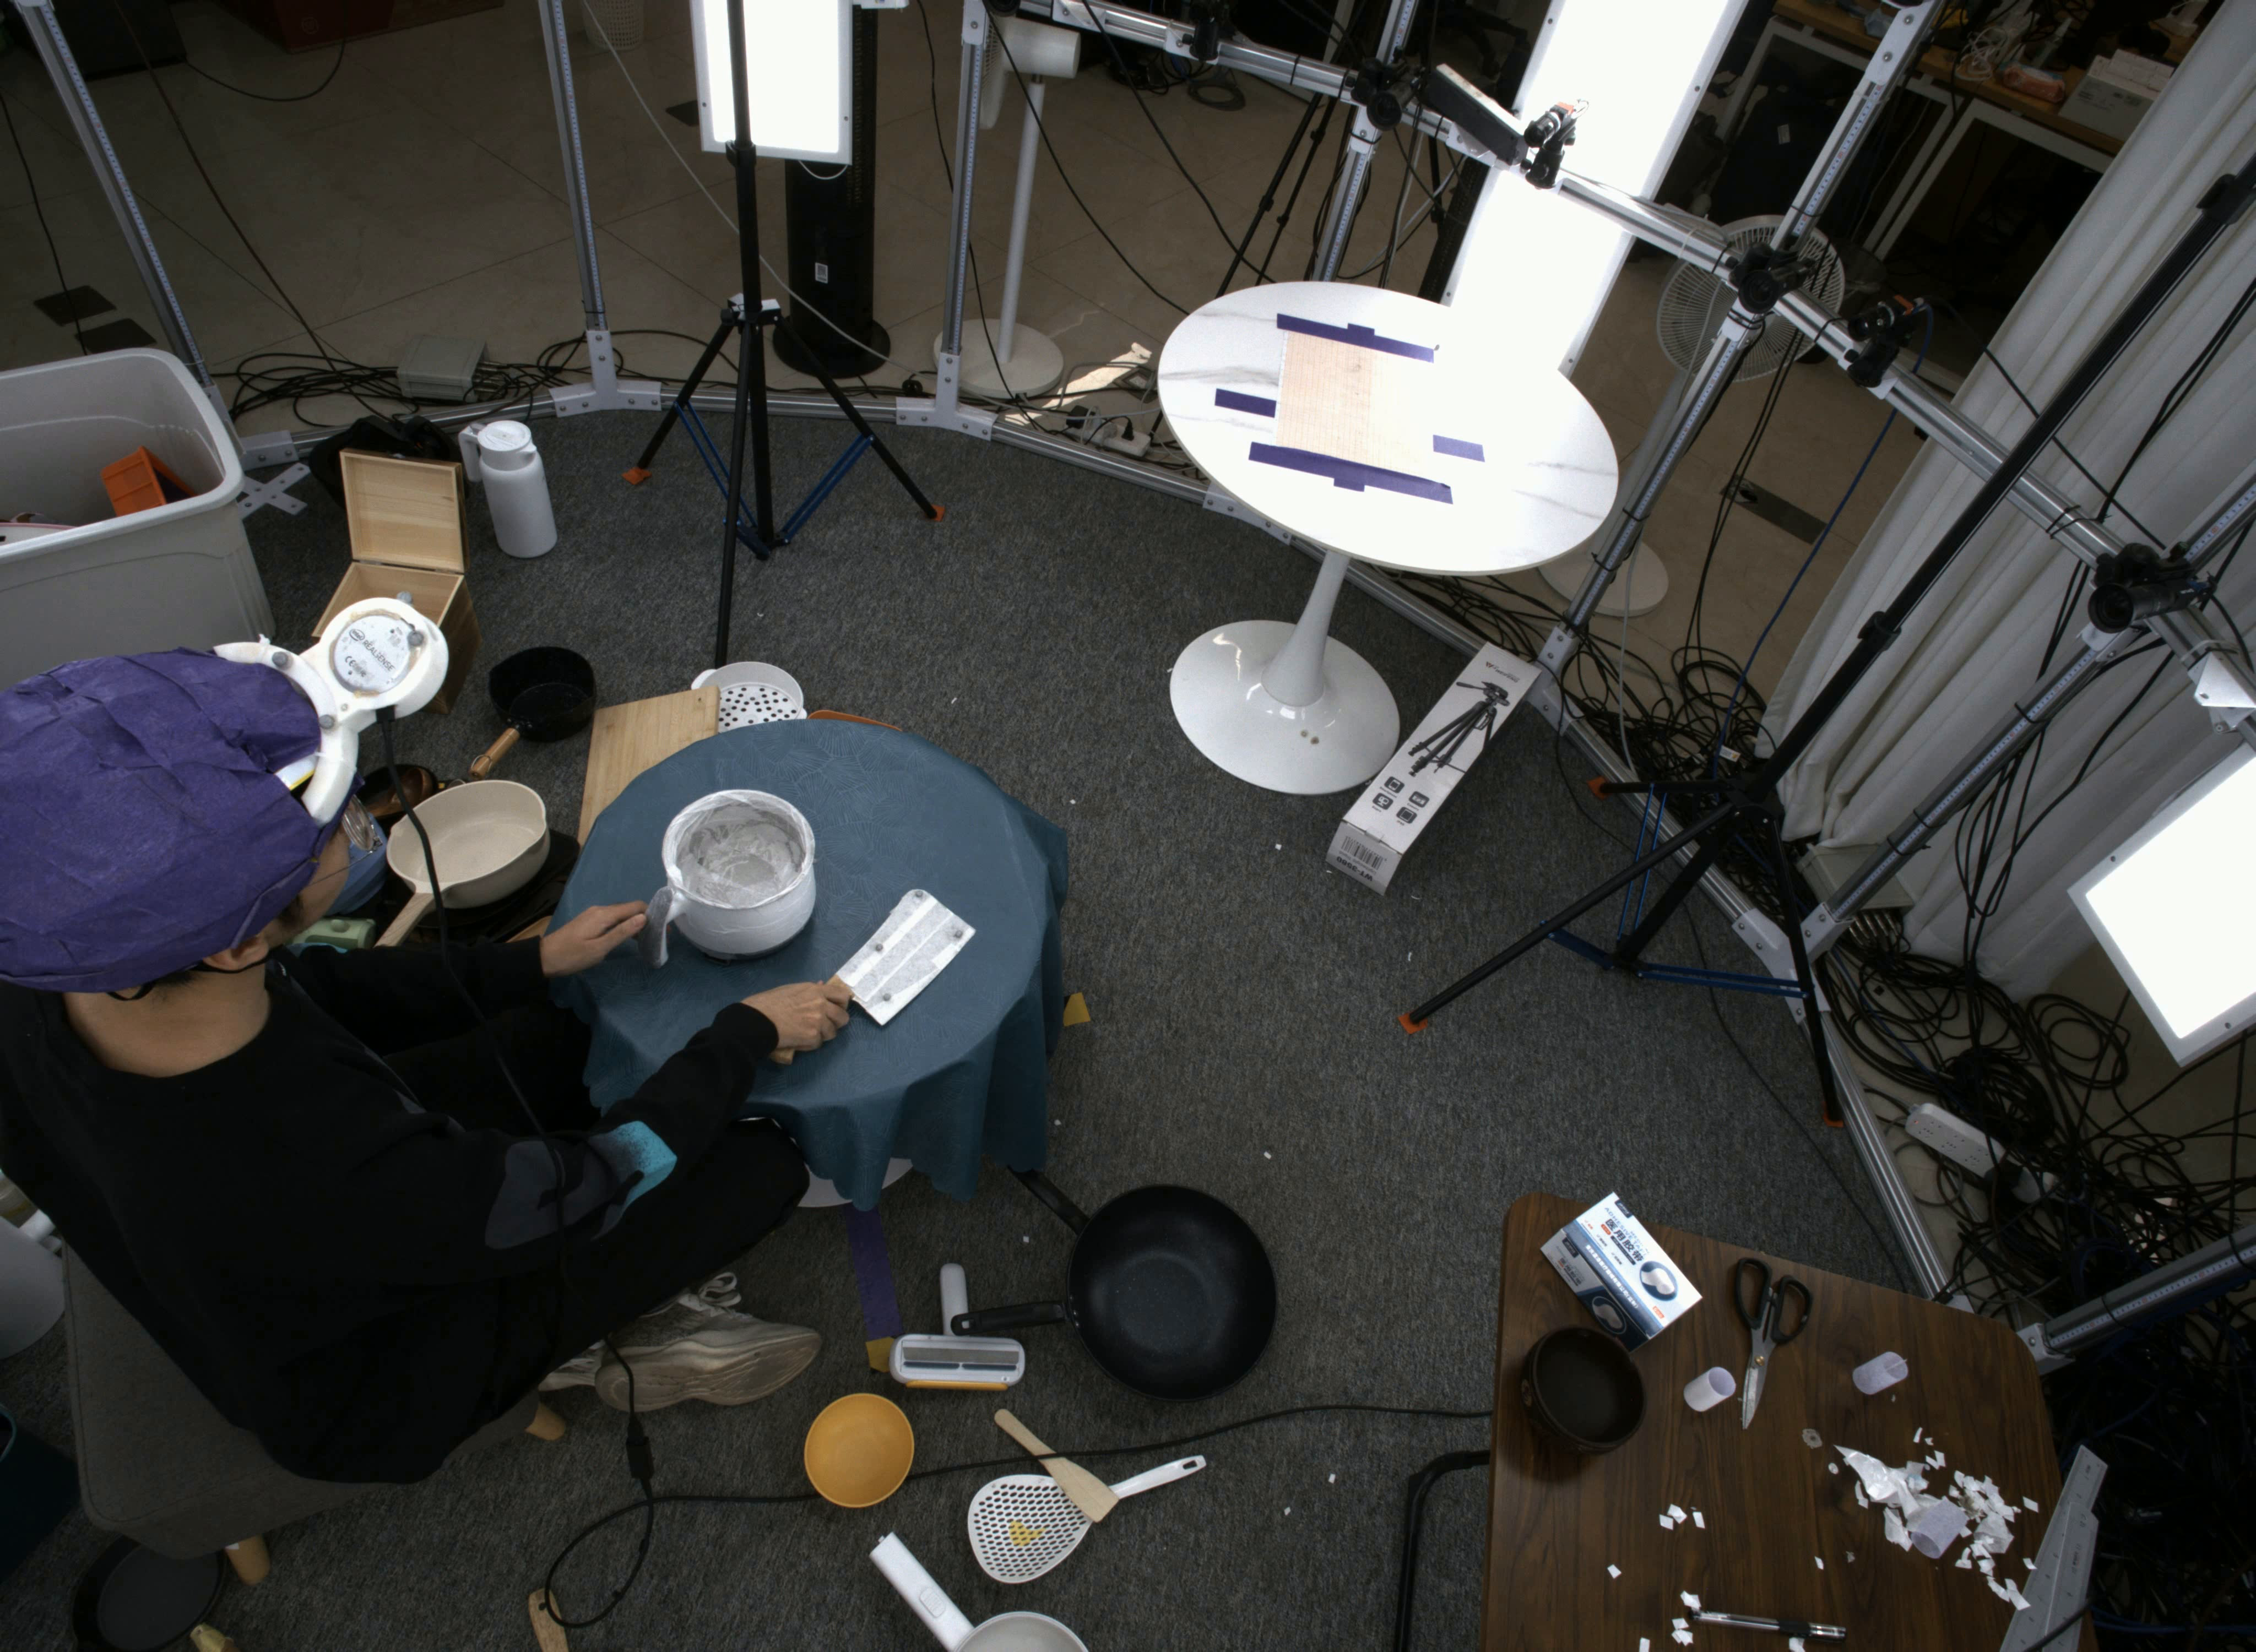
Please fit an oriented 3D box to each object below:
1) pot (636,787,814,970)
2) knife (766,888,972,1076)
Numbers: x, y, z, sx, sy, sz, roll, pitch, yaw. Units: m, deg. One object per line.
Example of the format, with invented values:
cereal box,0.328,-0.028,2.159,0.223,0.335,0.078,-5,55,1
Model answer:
pot,-0.488,0.075,1.550,0.175,0.139,0.234,39,53,17
knife,-0.317,0.186,1.577,0.114,0.022,0.315,45,51,2
